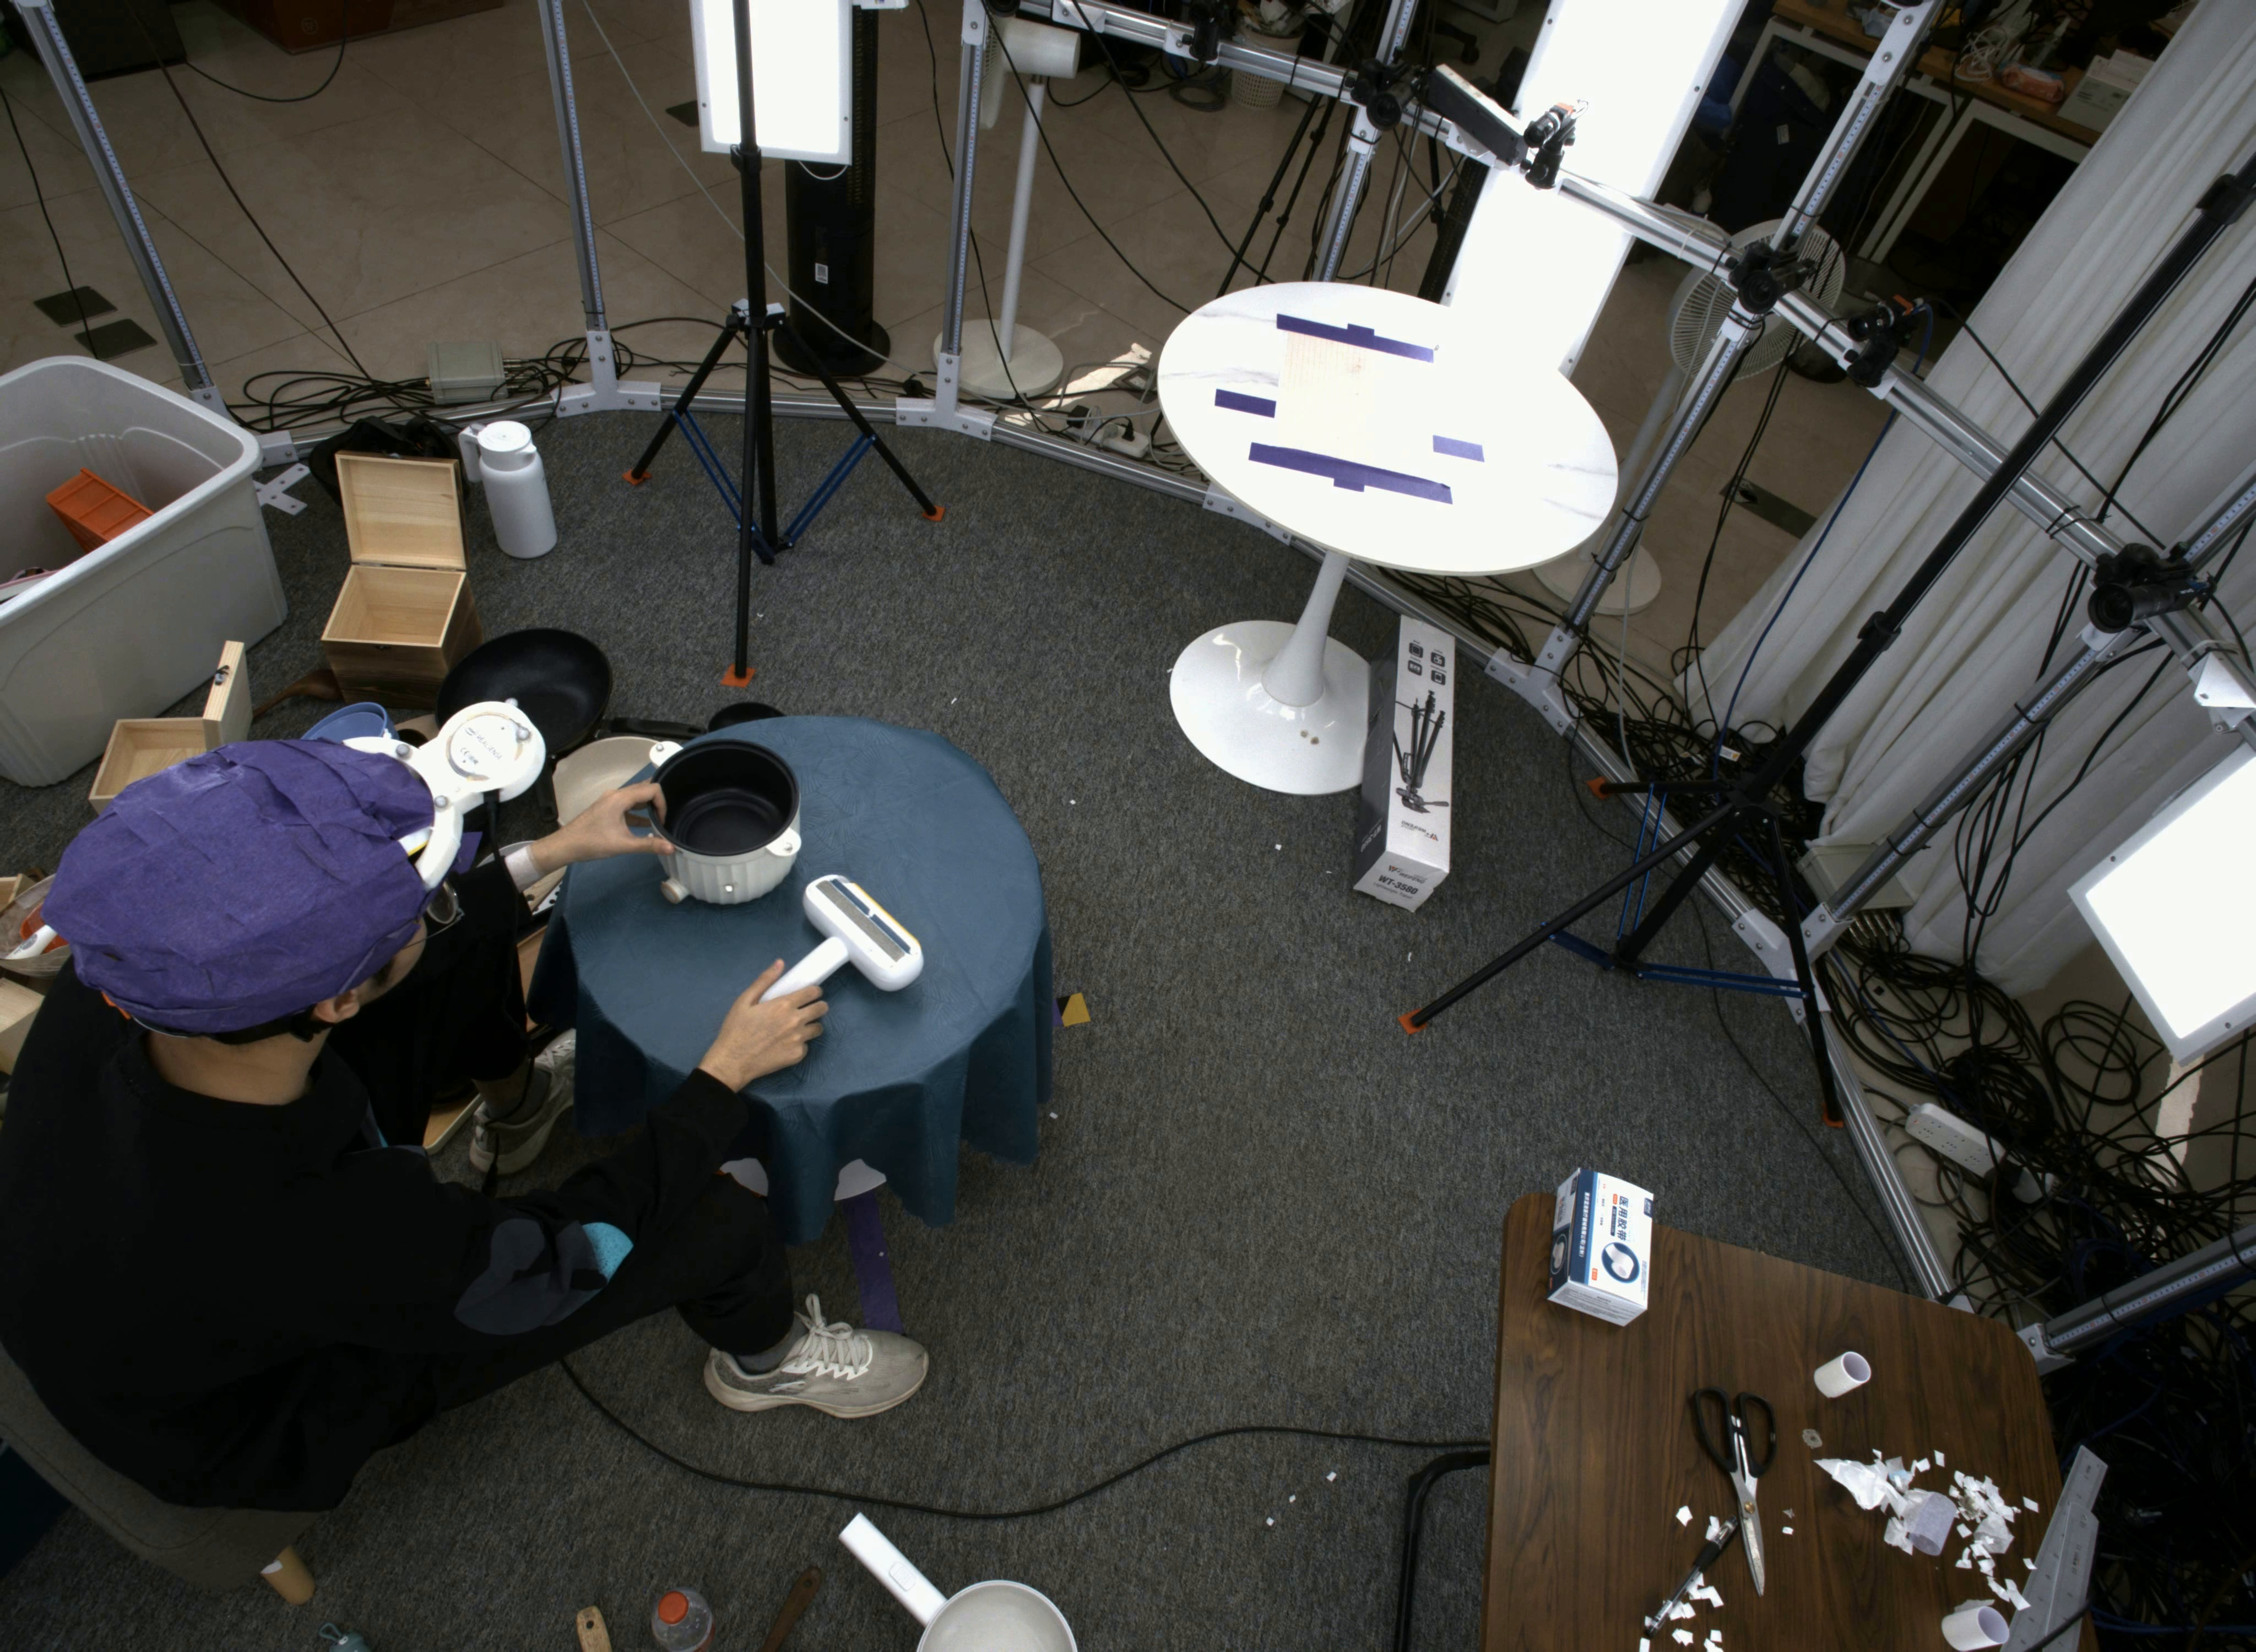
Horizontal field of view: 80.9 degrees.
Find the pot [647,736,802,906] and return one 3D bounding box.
[{"bbox_3d":[-0.505,0.004,1.615,0.236,0.145,0.190,33,50,13],"label":"pot"}]

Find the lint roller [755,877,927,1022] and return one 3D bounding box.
[{"bbox_3d":[-0.368,0.164,1.579,0.193,0.076,0.187,-31,61,-30],"label":"lint roller"}]
